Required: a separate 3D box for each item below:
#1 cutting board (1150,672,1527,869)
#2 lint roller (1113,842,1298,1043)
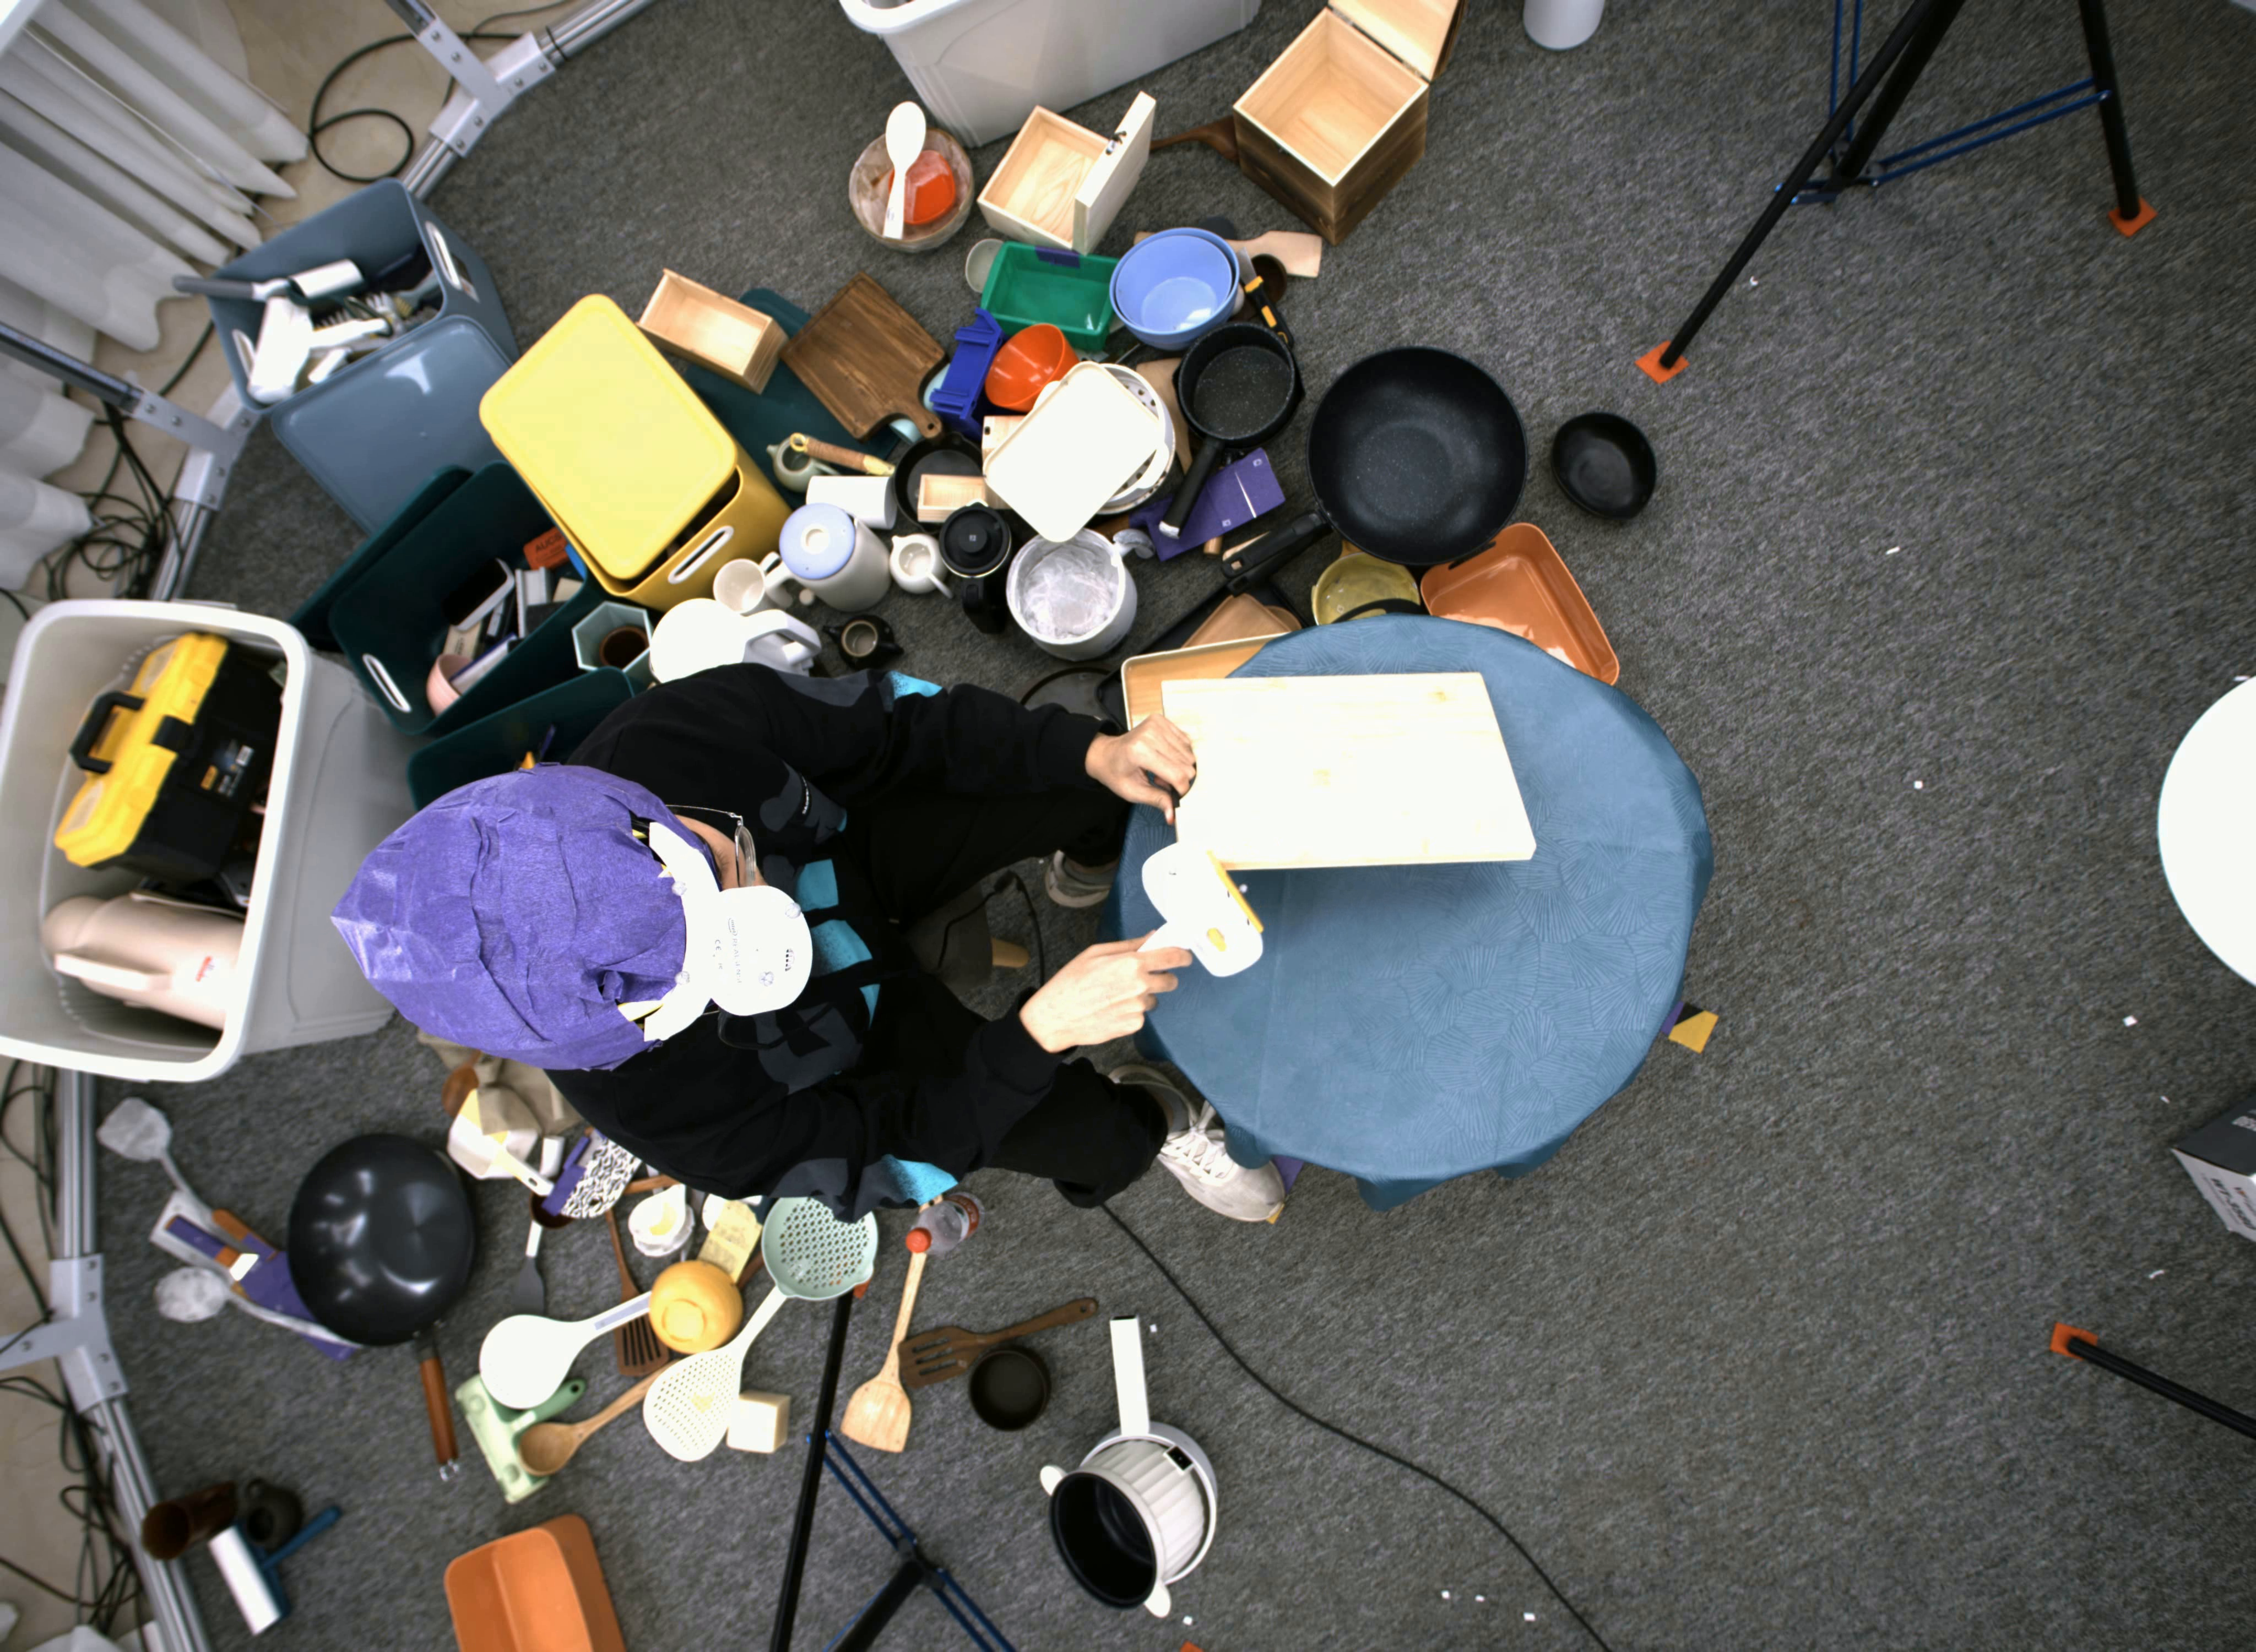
[{"bbox_3d":[0.203,-0.061,1.365,0.349,0.024,0.244,-3,52,-3],"label":"cutting board"},{"bbox_3d":[0.053,0.122,1.307,0.194,0.194,0.073,-42,49,12],"label":"lint roller"}]
